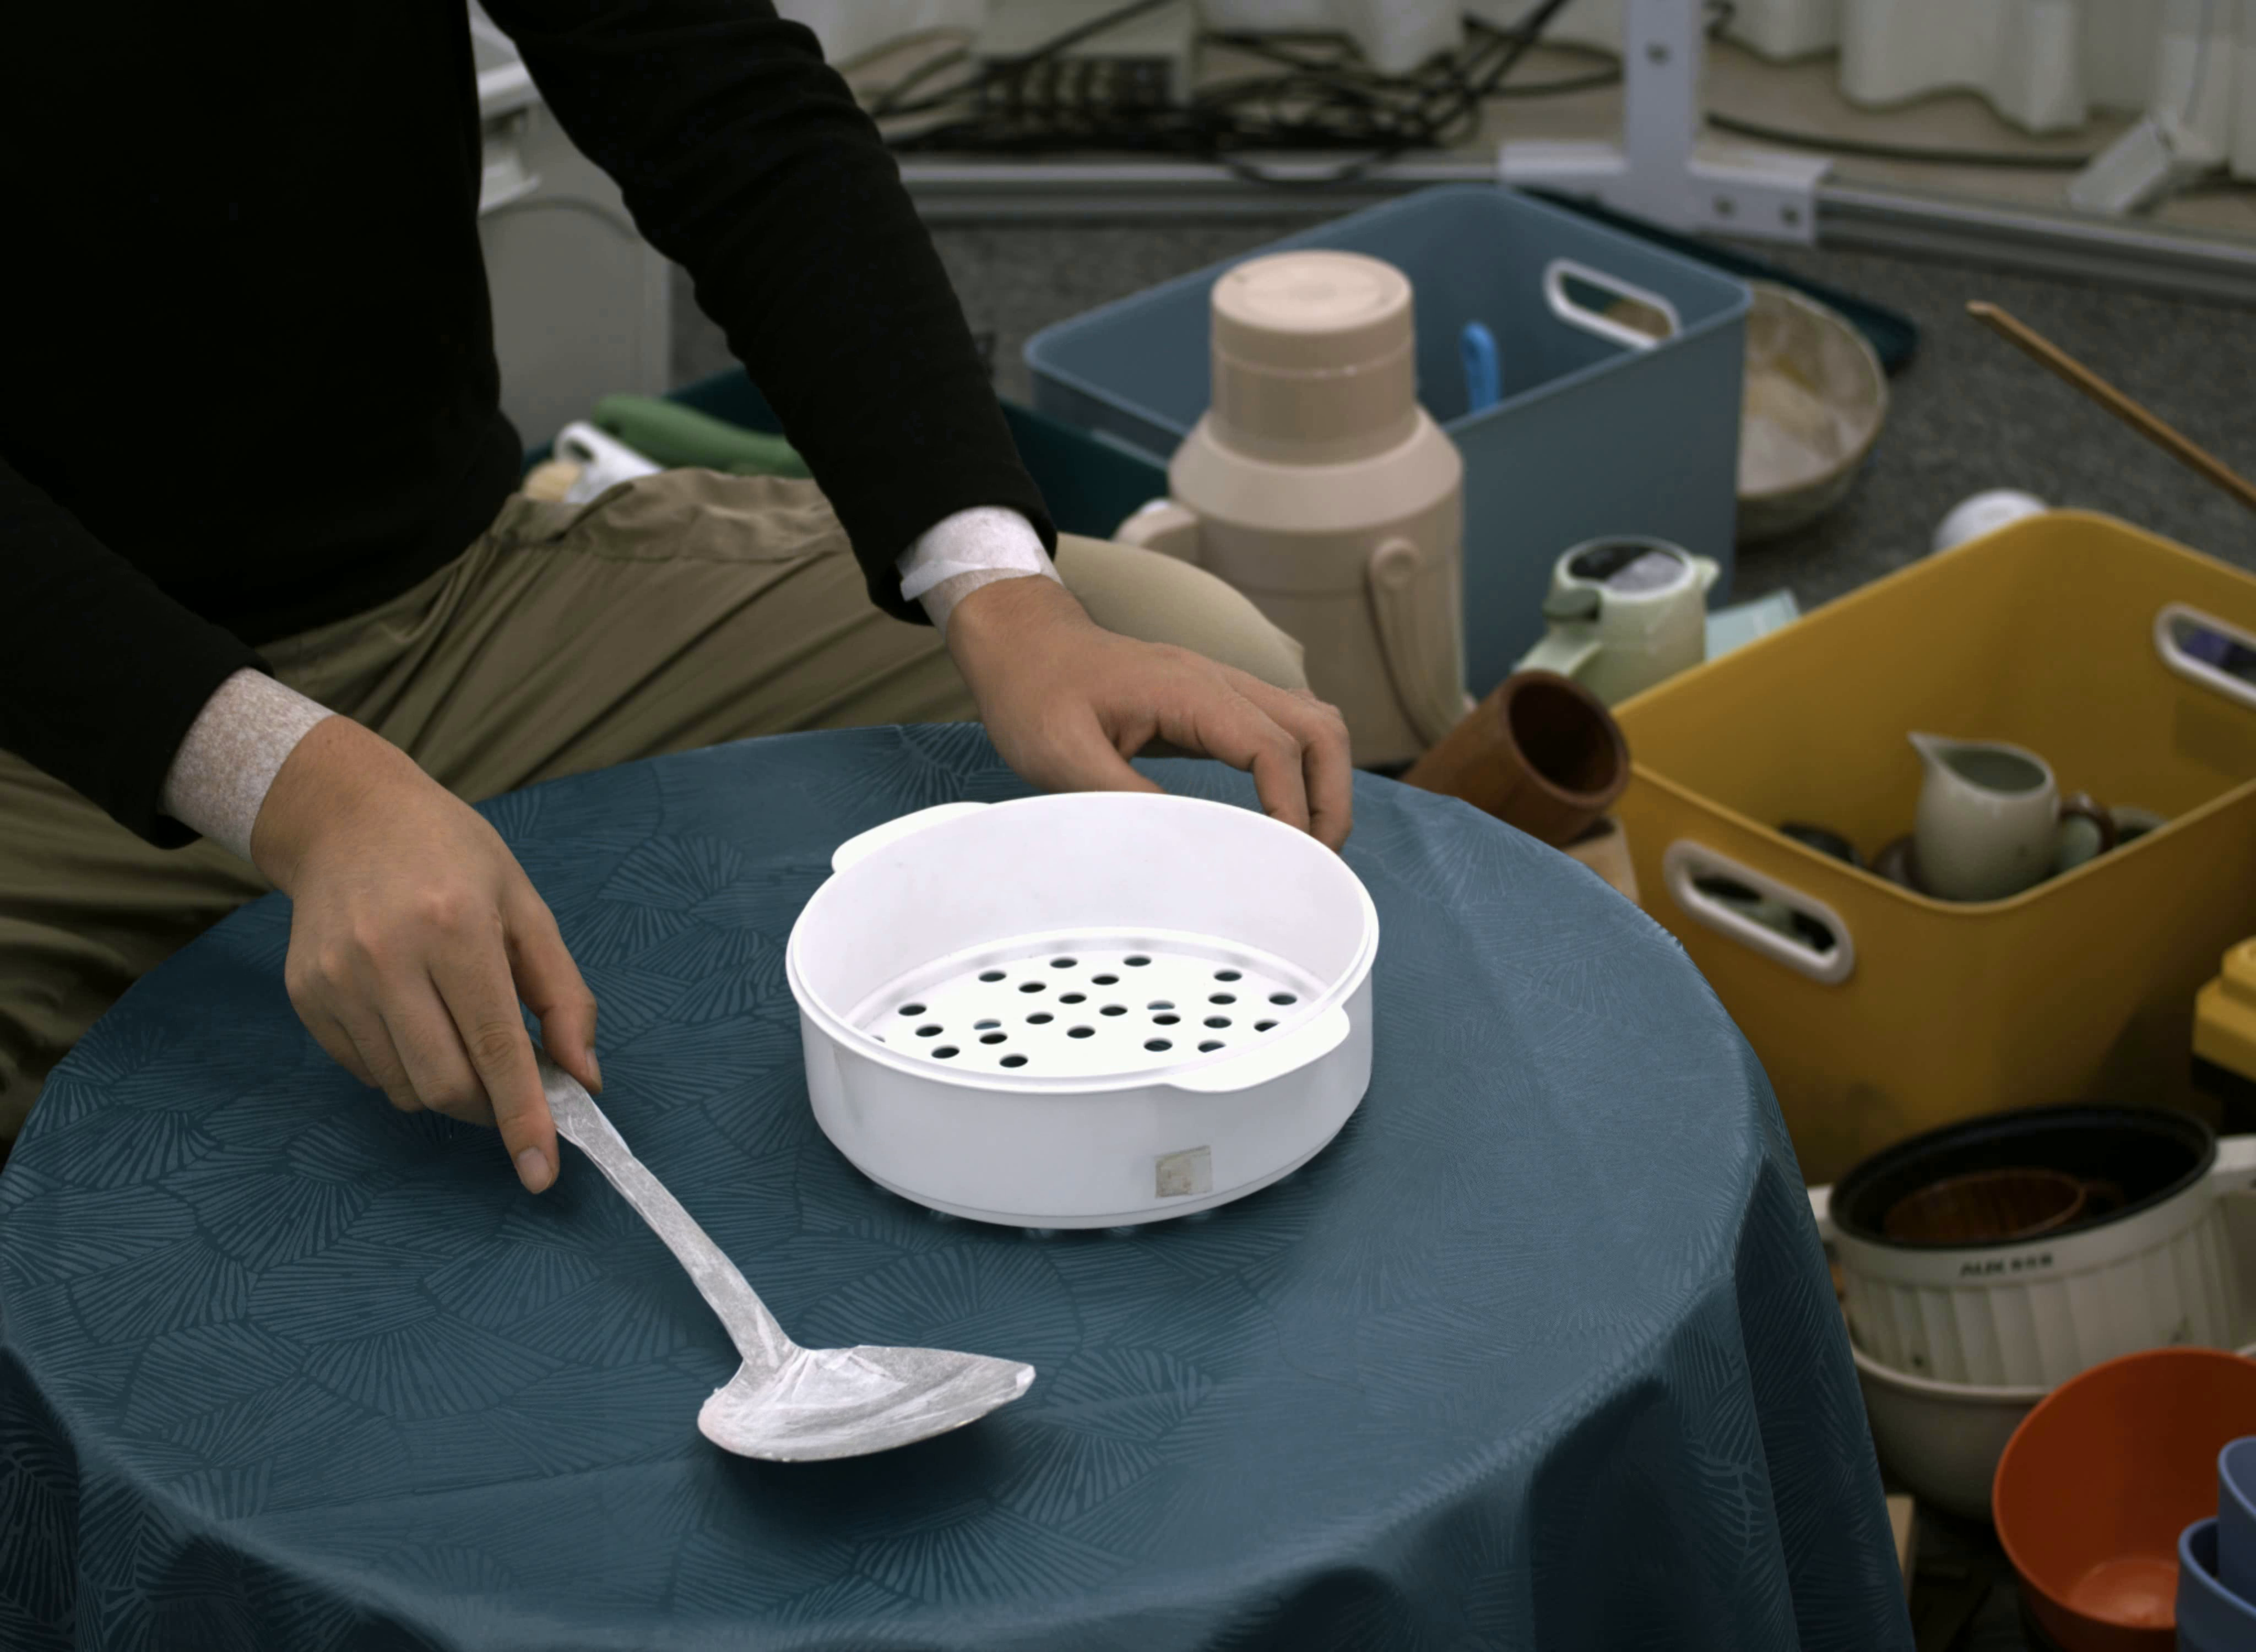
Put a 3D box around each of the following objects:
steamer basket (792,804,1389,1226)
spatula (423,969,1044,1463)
[{"bbox_3d":[-0.011,0.064,1.898,0.203,0.068,0.231,-20,30,-32],"label":"steamer basket"},{"bbox_3d":[-0.152,0.117,1.824,0.099,0.044,0.367,-16,35,-27],"label":"spatula"}]
